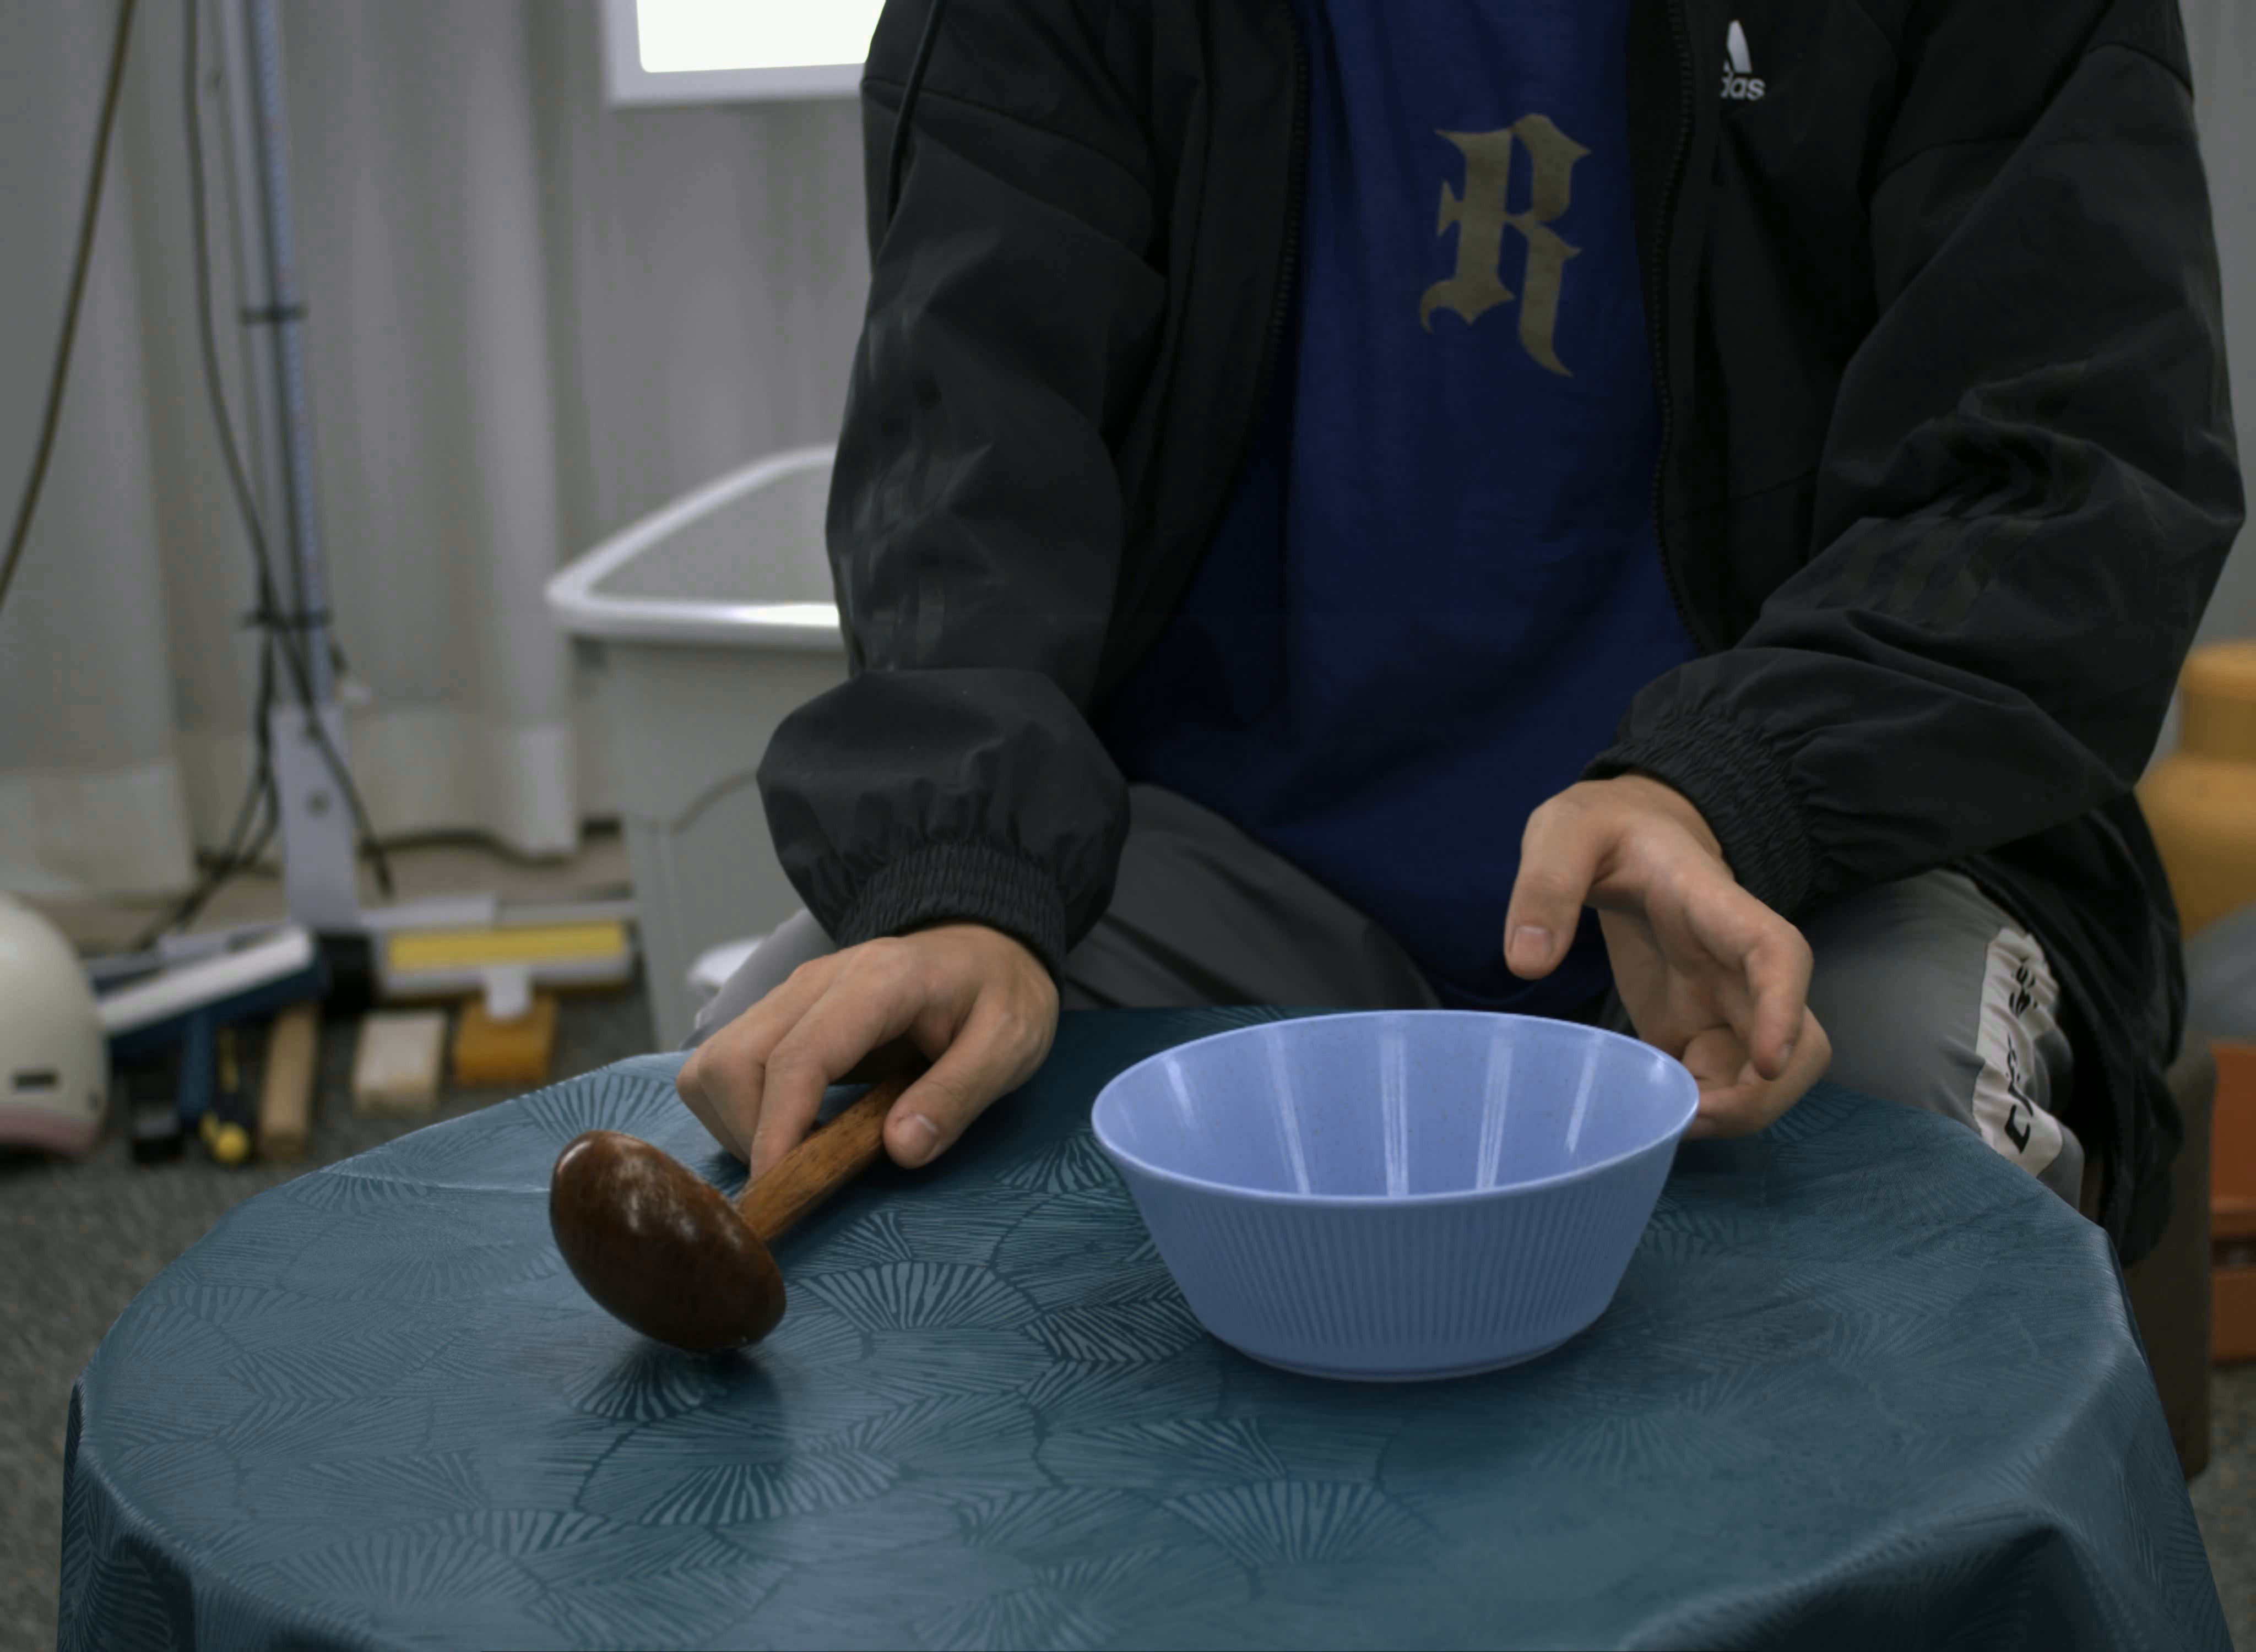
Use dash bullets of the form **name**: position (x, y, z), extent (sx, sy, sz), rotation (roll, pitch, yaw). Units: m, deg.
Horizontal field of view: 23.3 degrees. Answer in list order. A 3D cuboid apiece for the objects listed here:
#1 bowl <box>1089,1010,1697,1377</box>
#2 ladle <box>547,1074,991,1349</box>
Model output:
- **bowl**: position (0.077, 0.109, 1.581), extent (0.175, 0.070, 0.177), rotation (-2, 14, 0)
- **ladle**: position (-0.093, 0.095, 1.667), extent (0.082, 0.076, 0.274), rotation (45, 26, 9)
